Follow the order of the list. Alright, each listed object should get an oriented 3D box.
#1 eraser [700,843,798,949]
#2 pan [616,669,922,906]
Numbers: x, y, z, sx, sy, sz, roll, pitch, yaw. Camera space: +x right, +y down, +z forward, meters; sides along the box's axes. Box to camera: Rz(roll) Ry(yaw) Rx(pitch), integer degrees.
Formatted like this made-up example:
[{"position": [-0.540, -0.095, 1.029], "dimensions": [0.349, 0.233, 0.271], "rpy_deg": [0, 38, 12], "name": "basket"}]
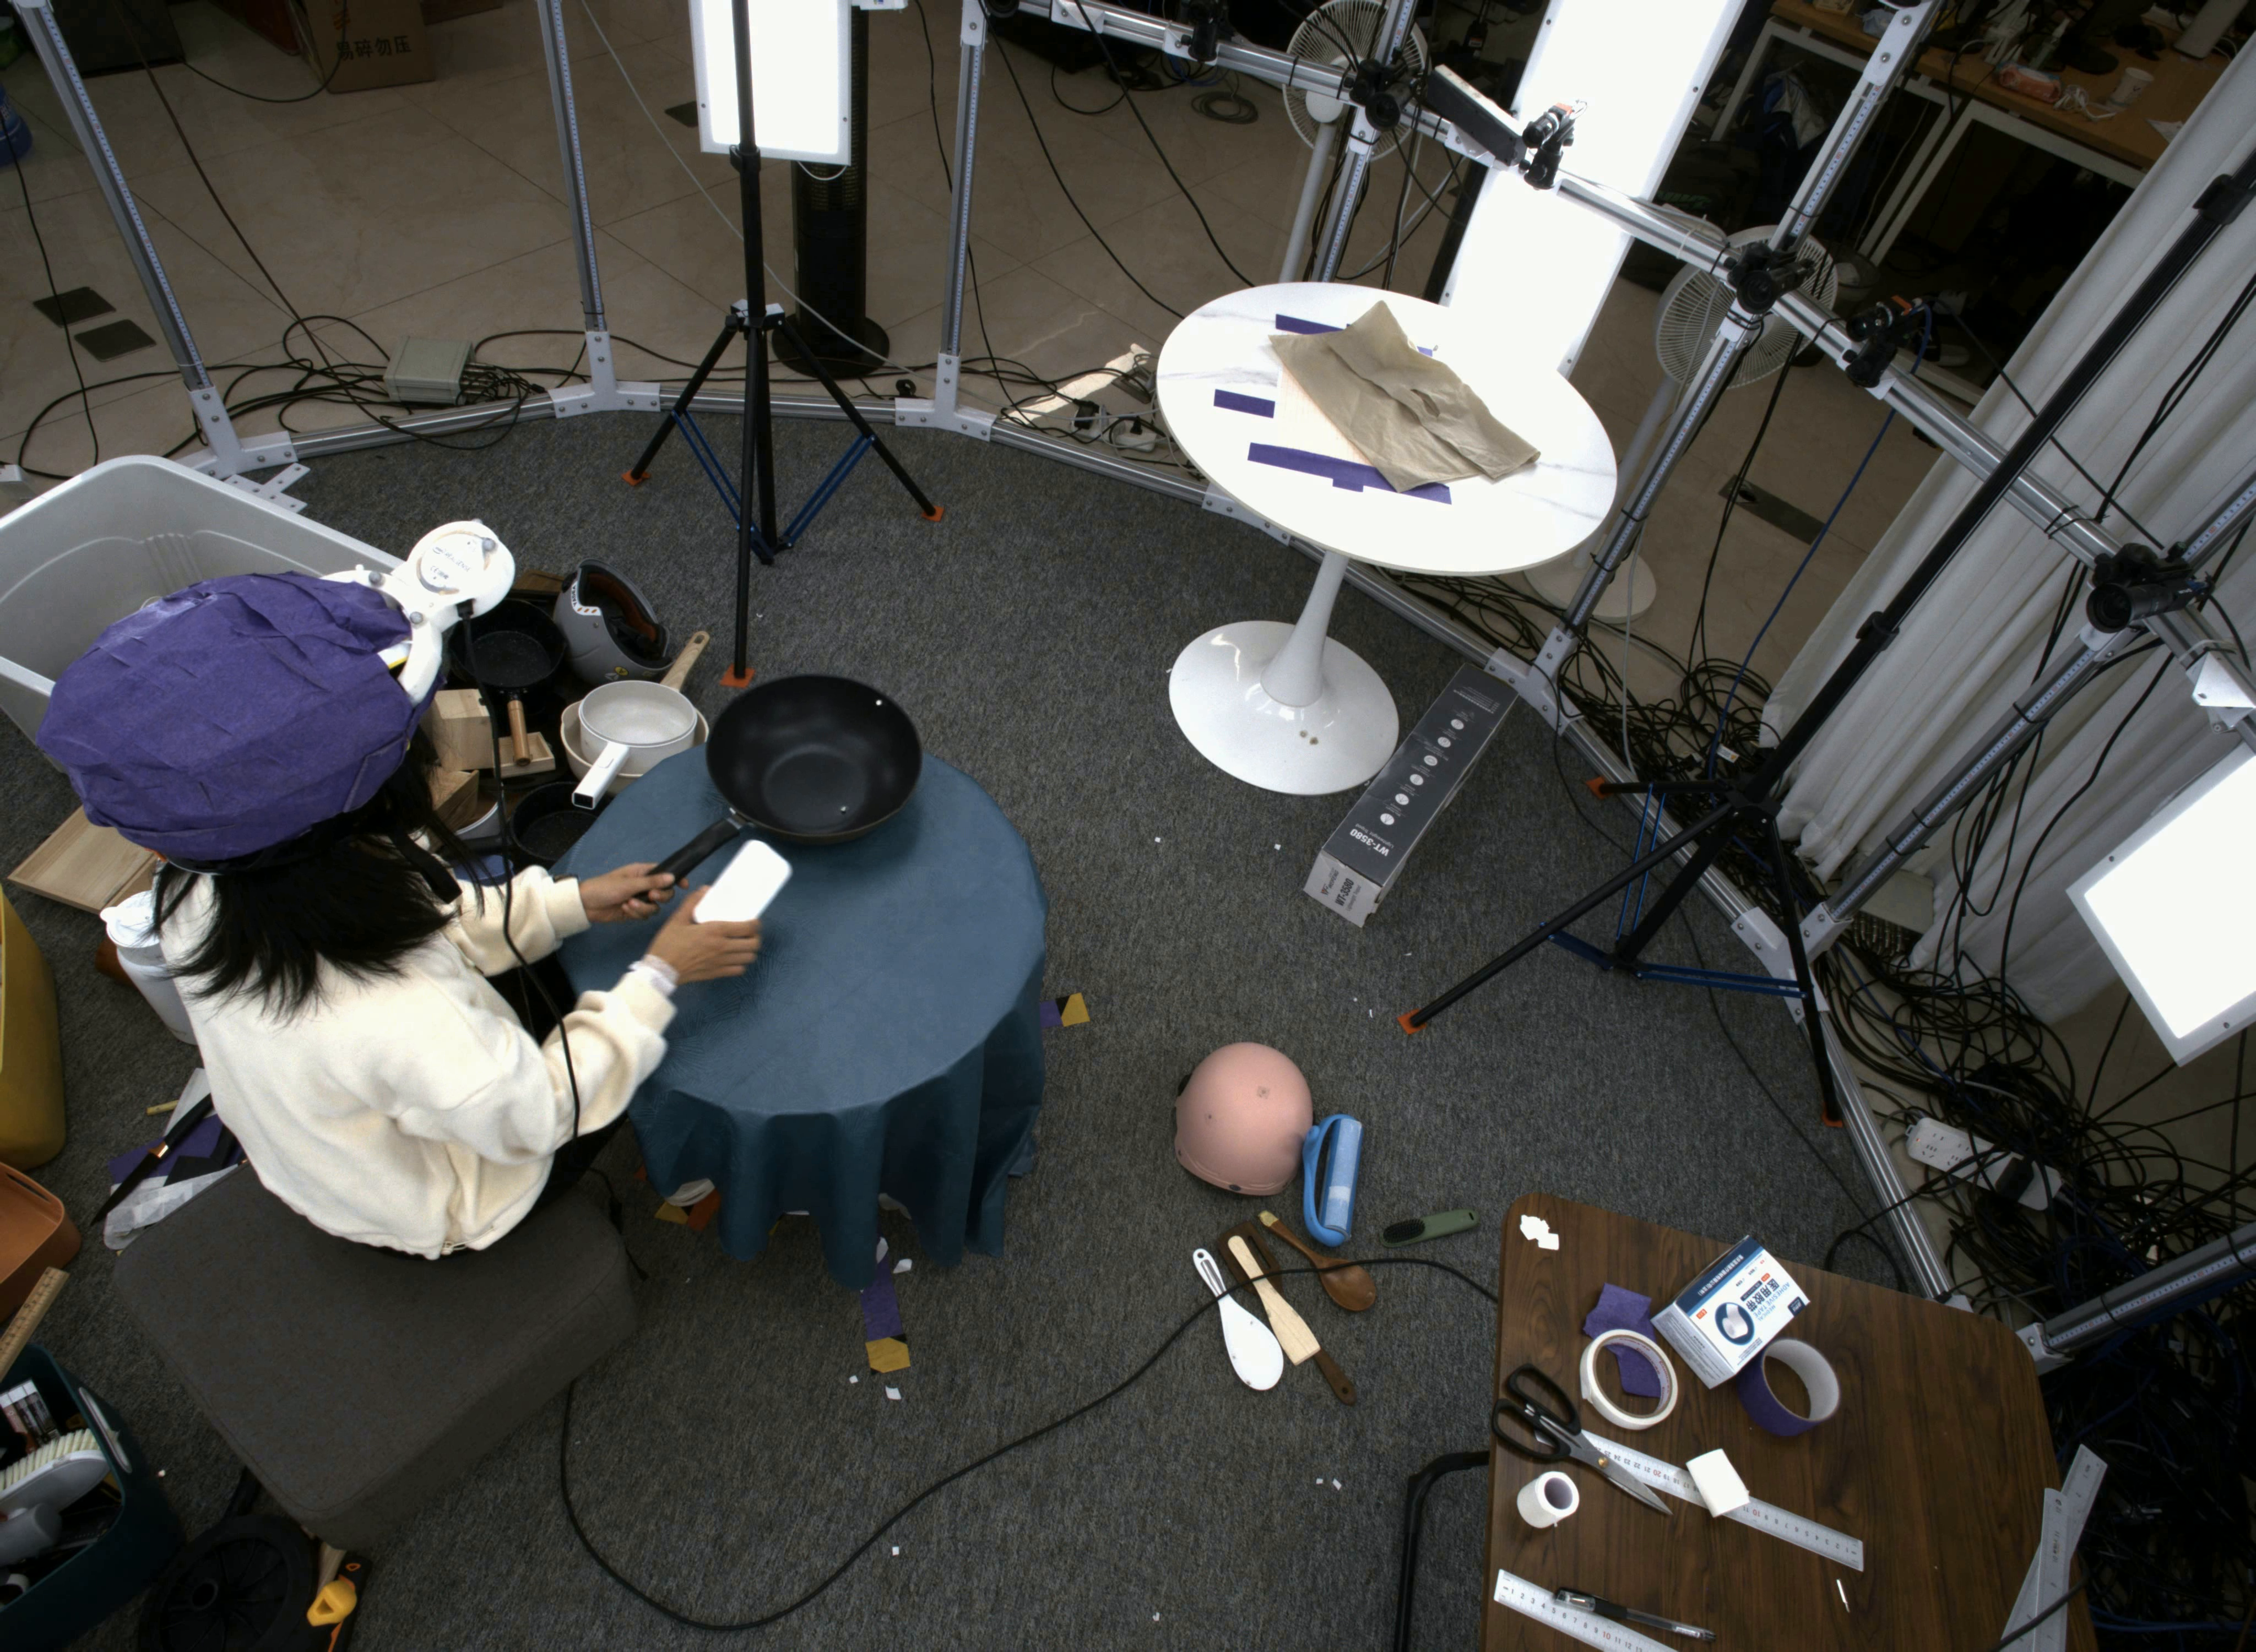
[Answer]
[{"position": [-0.452, 0.080, 1.540], "dimensions": [0.065, 0.034, 0.131], "rpy_deg": [44, 56, -16], "name": "eraser"}, {"position": [-0.468, -0.026, 1.673], "dimensions": [0.282, 0.088, 0.463], "rpy_deg": [34, 54, 13], "name": "pan"}]
